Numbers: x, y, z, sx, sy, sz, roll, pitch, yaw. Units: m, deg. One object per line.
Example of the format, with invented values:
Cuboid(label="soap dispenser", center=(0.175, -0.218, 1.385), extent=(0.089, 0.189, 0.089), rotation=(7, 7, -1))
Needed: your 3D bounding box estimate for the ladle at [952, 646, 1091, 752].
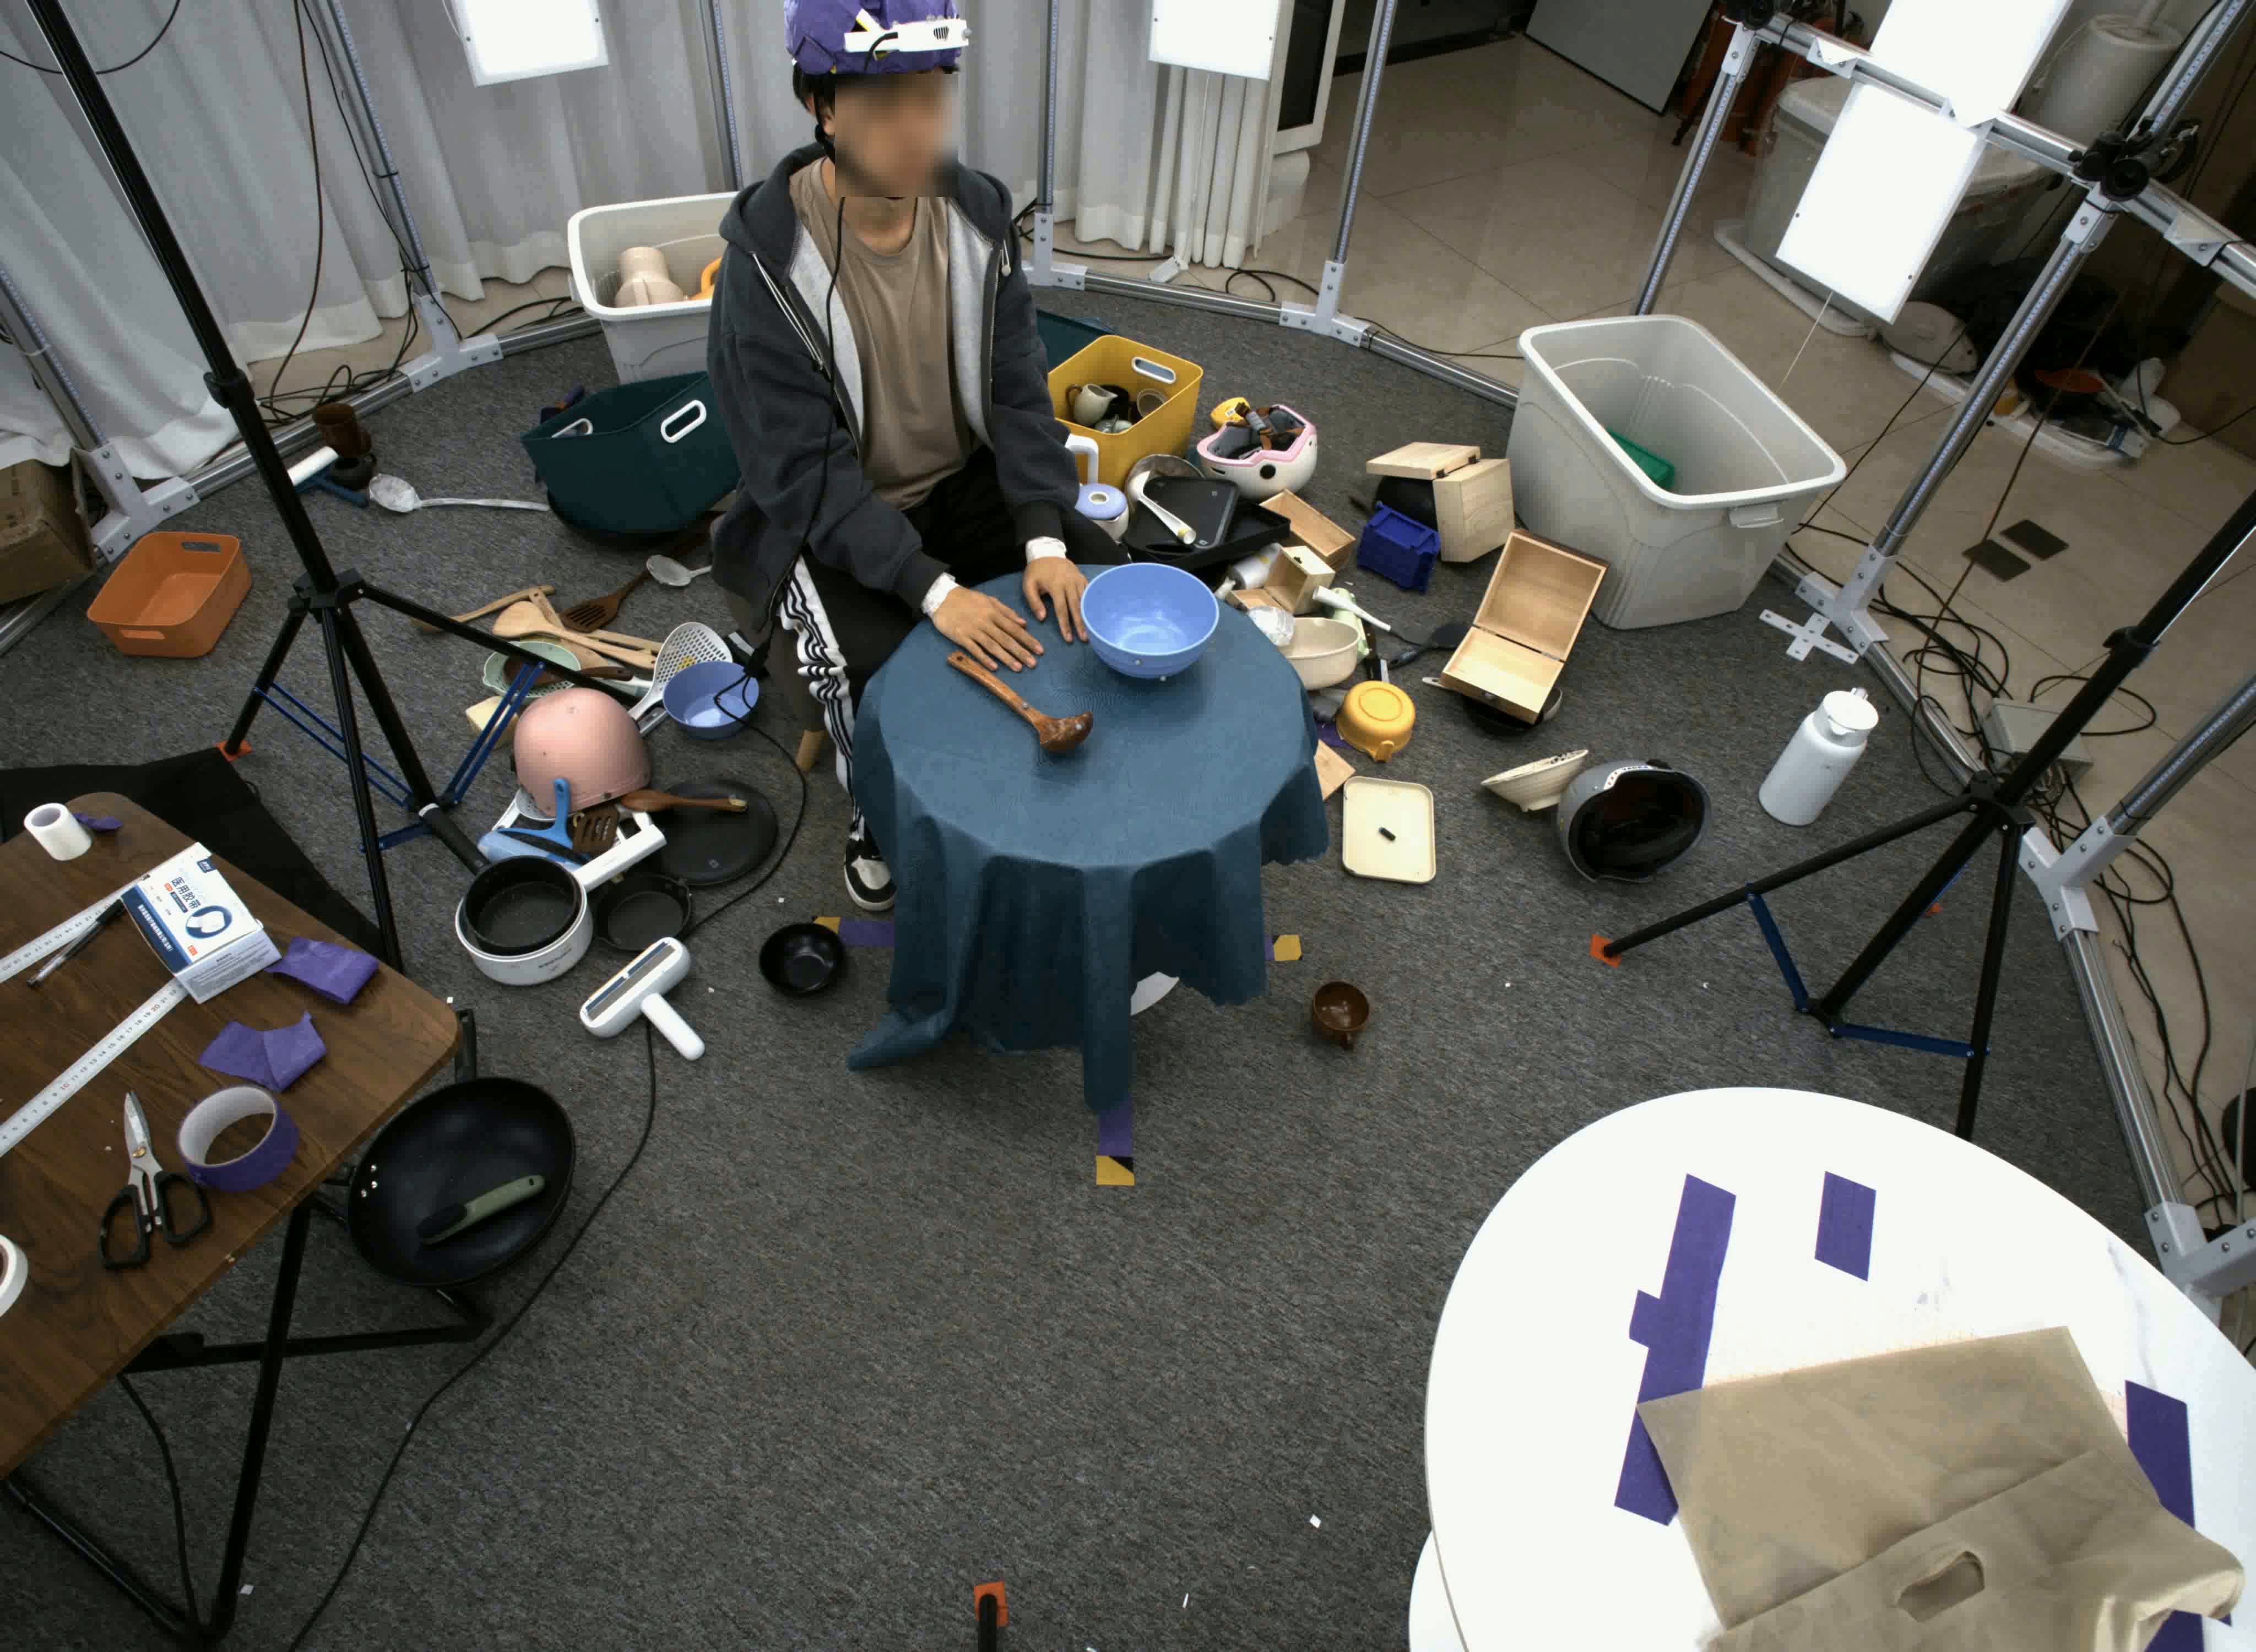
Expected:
Cuboid(label="ladle", center=(-0.157, -0.190, 1.770), extent=(0.082, 0.075, 0.278), rotation=(-35, 60, -25))

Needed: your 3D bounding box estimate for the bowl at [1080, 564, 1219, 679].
Cuboid(label="bowl", center=(0.029, -0.279, 1.851), extent=(0.196, 0.093, 0.201), rotation=(1, 48, -1))
